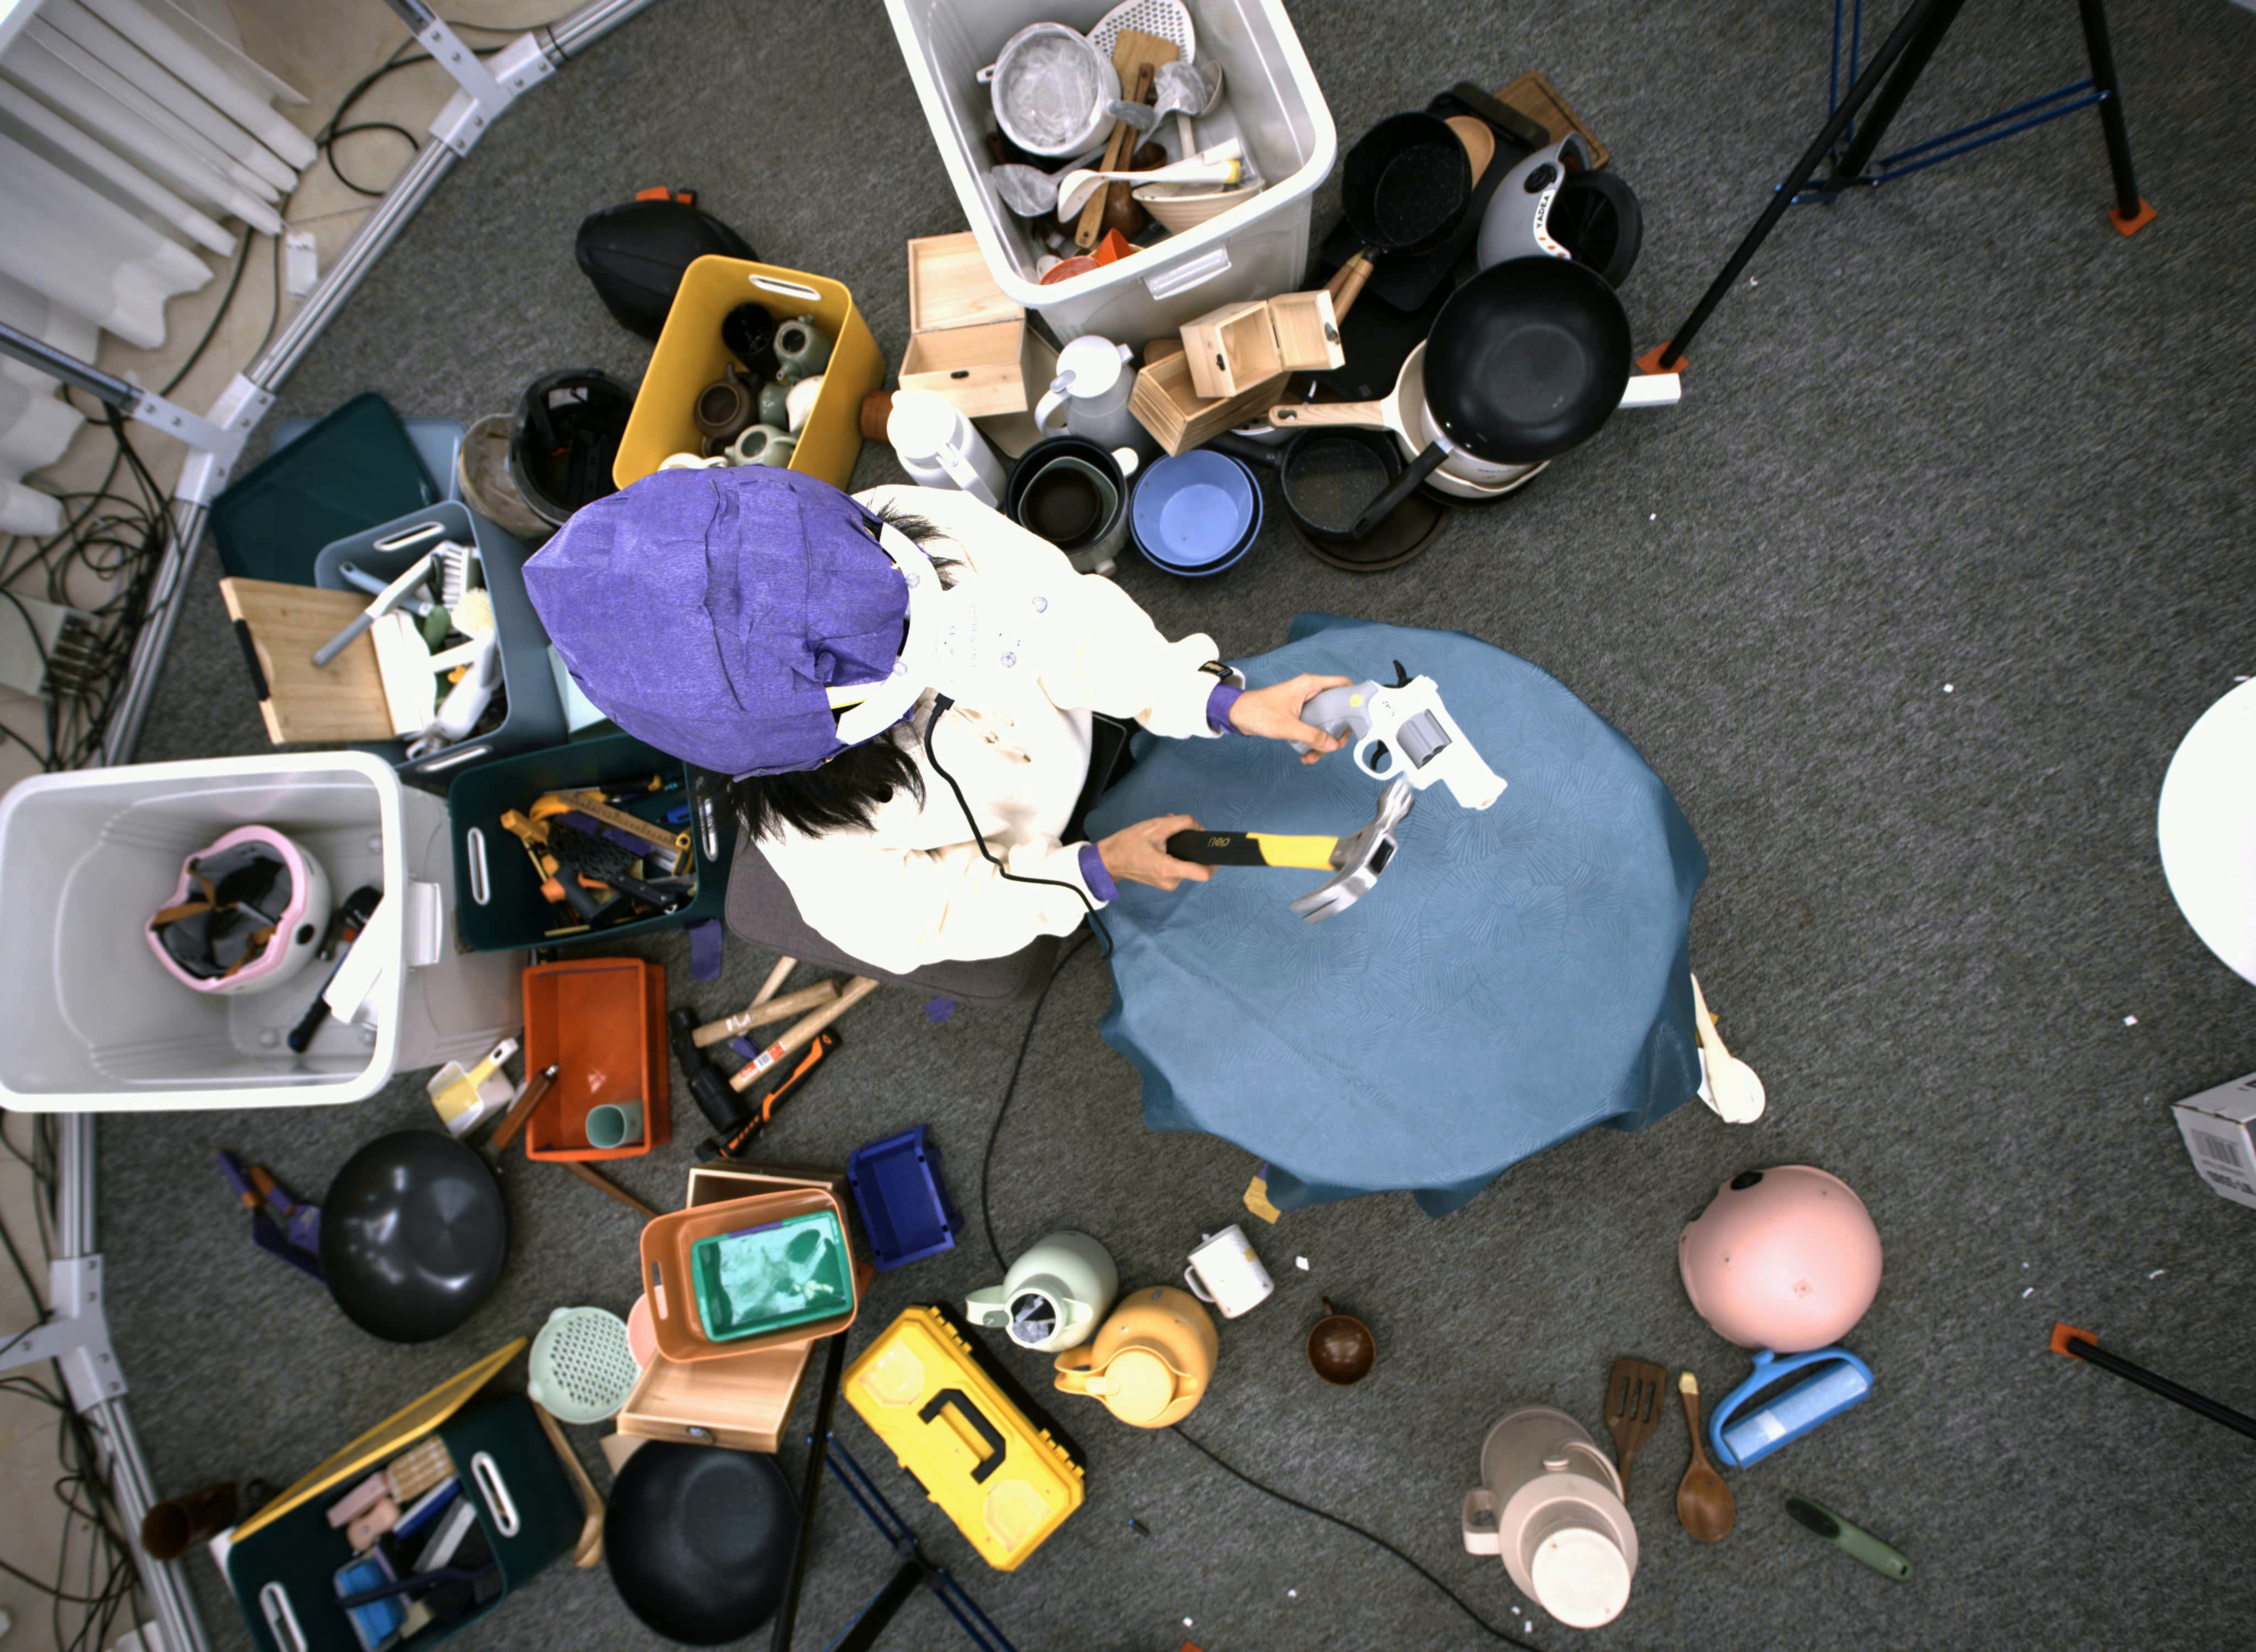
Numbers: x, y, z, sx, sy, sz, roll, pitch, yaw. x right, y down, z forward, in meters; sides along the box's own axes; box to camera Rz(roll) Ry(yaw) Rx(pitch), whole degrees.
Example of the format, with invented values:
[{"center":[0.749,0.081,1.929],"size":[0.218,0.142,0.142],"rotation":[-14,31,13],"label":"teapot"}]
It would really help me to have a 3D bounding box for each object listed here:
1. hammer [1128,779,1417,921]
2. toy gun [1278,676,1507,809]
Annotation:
[{"center":[0.113,0.017,1.293],"size":[0.032,0.340,0.129],"rotation":[39,69,-32],"label":"hammer"},{"center":[0.235,-0.069,1.255],"size":[0.144,0.039,0.205],"rotation":[-42,57,20],"label":"toy gun"}]
